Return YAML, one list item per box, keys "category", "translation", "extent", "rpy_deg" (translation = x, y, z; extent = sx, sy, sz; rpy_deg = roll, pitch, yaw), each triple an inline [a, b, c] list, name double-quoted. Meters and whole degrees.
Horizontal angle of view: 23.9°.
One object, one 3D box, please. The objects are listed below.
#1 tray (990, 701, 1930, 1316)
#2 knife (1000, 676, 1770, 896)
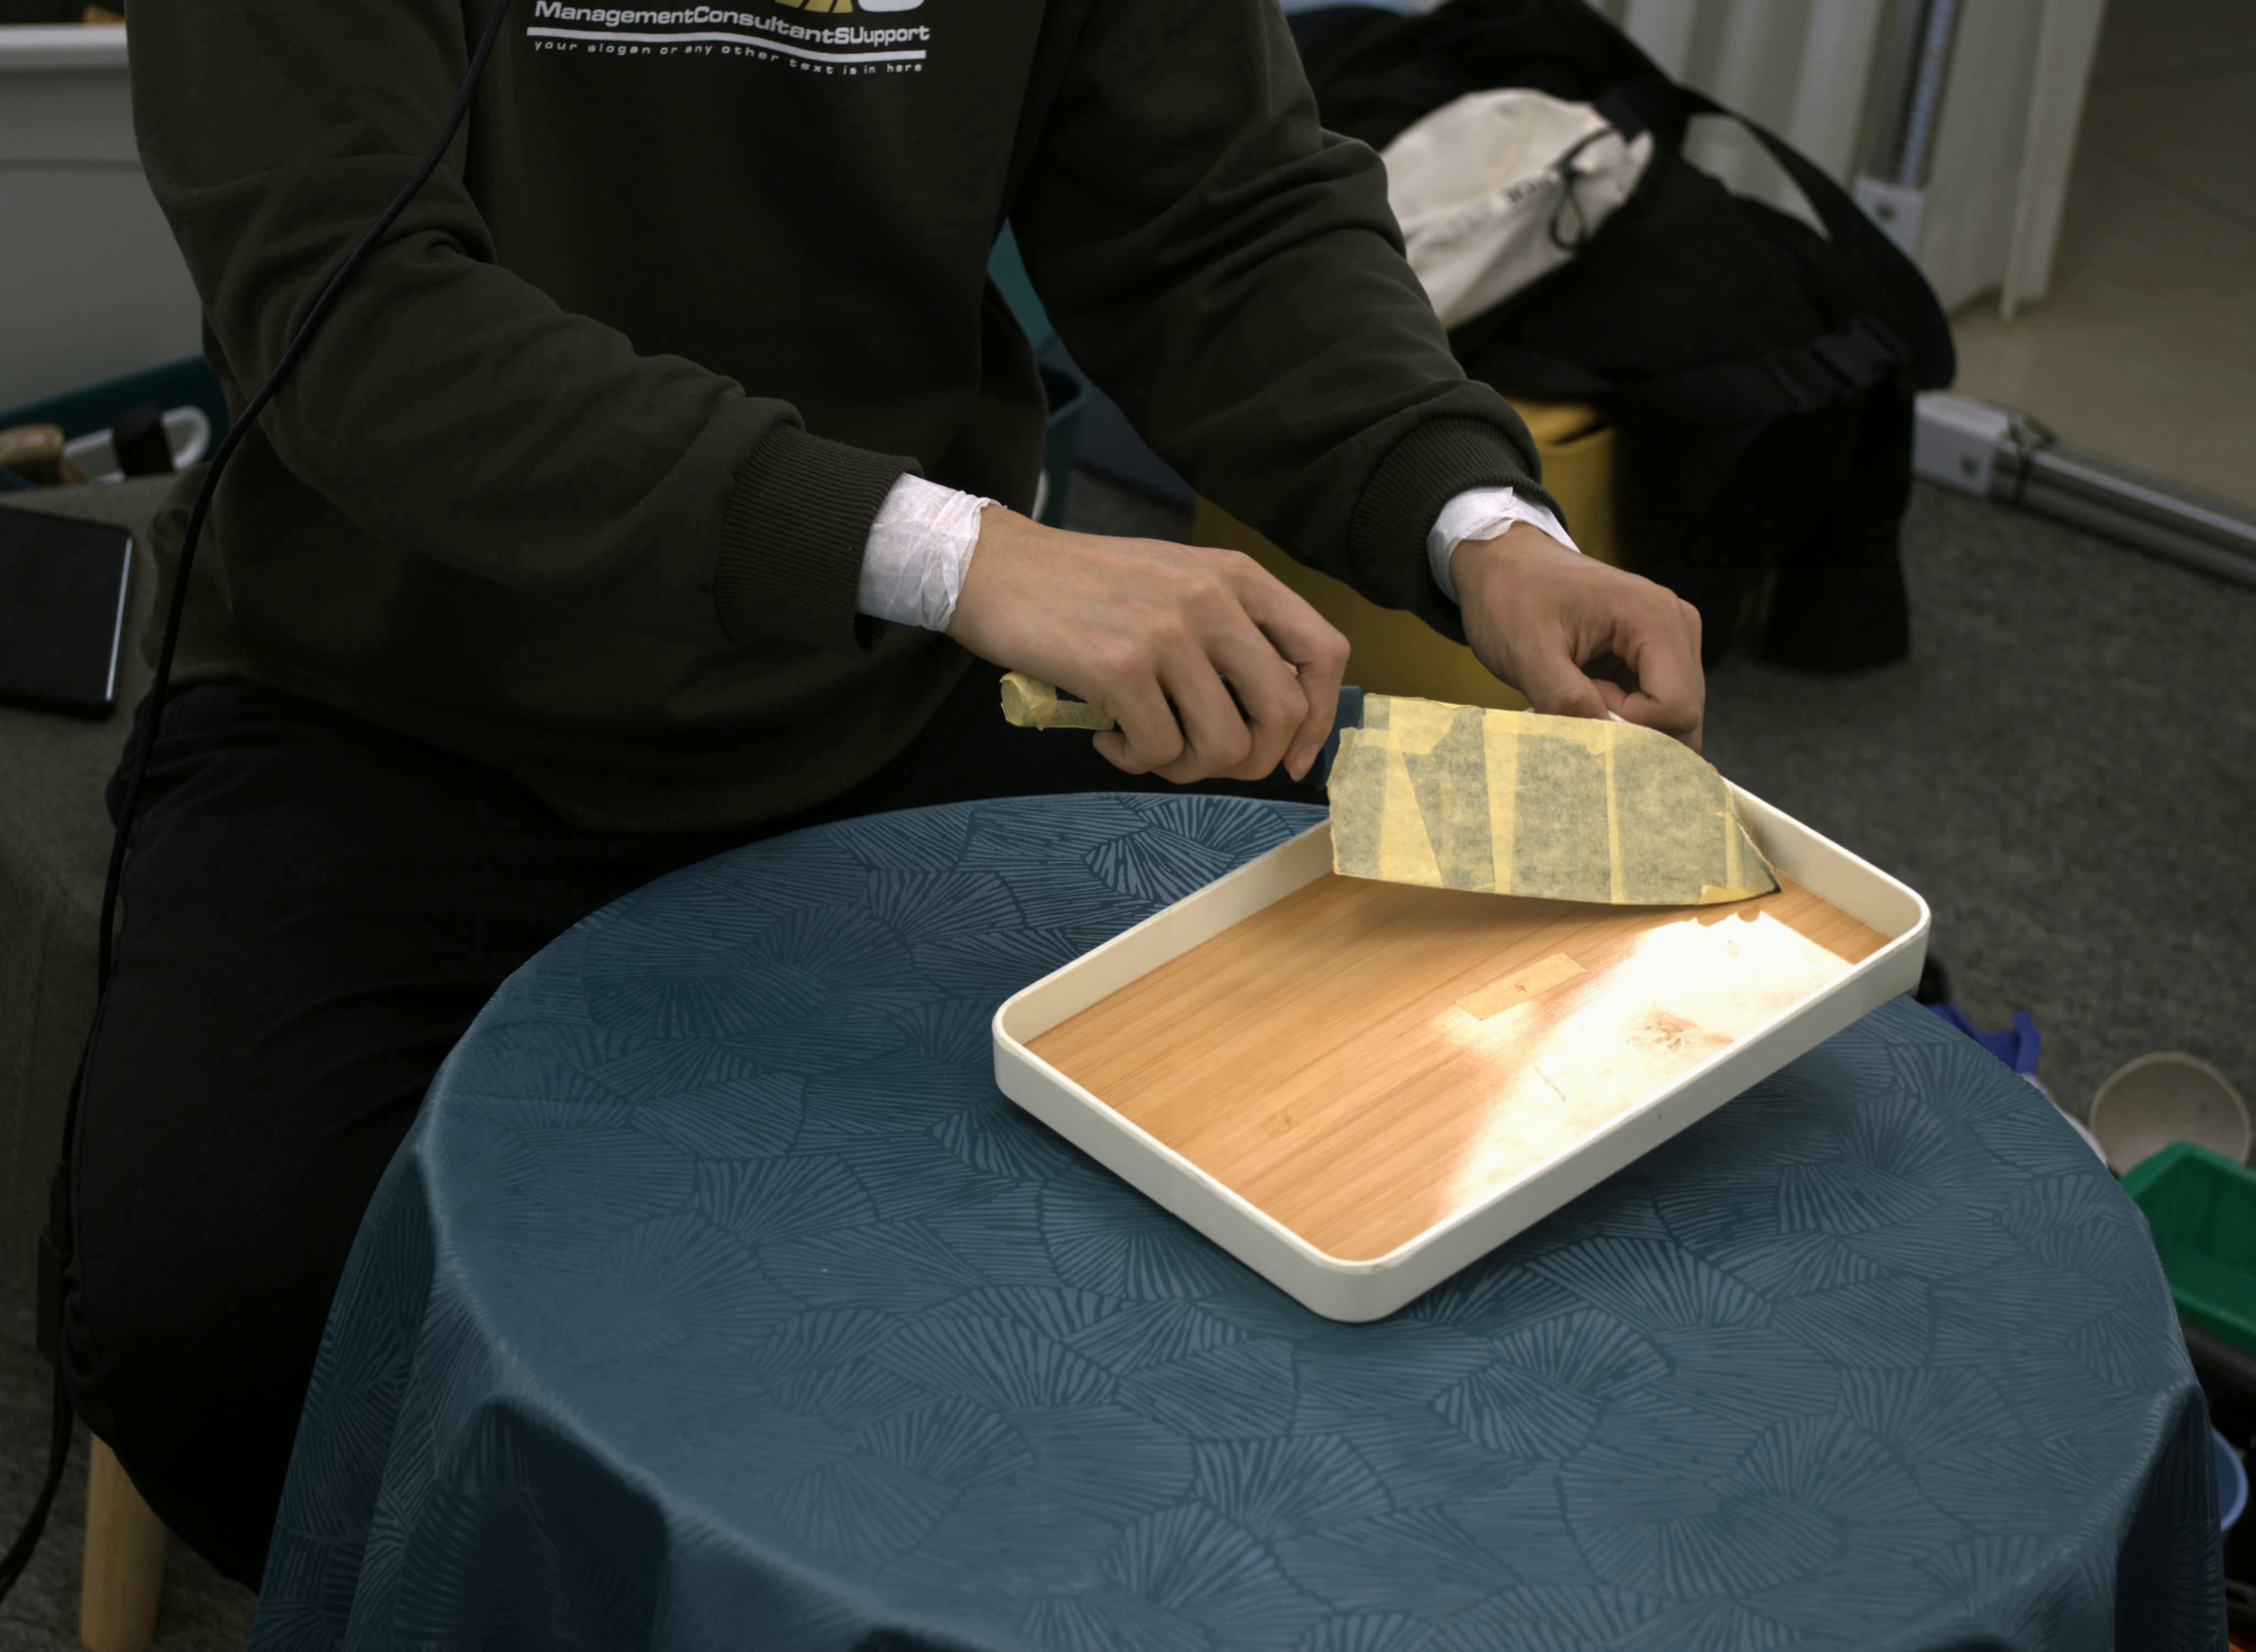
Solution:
- category: "tray"
  translation: [0.118, 0.058, 1.867]
  extent: [0.299, 0.027, 0.193]
  rpy_deg: [-28, 43, -33]
- category: "knife"
  translation: [0.094, -0.014, 1.904]
  extent: [0.288, 0.027, 0.081]
  rpy_deg: [8, 62, -12]
